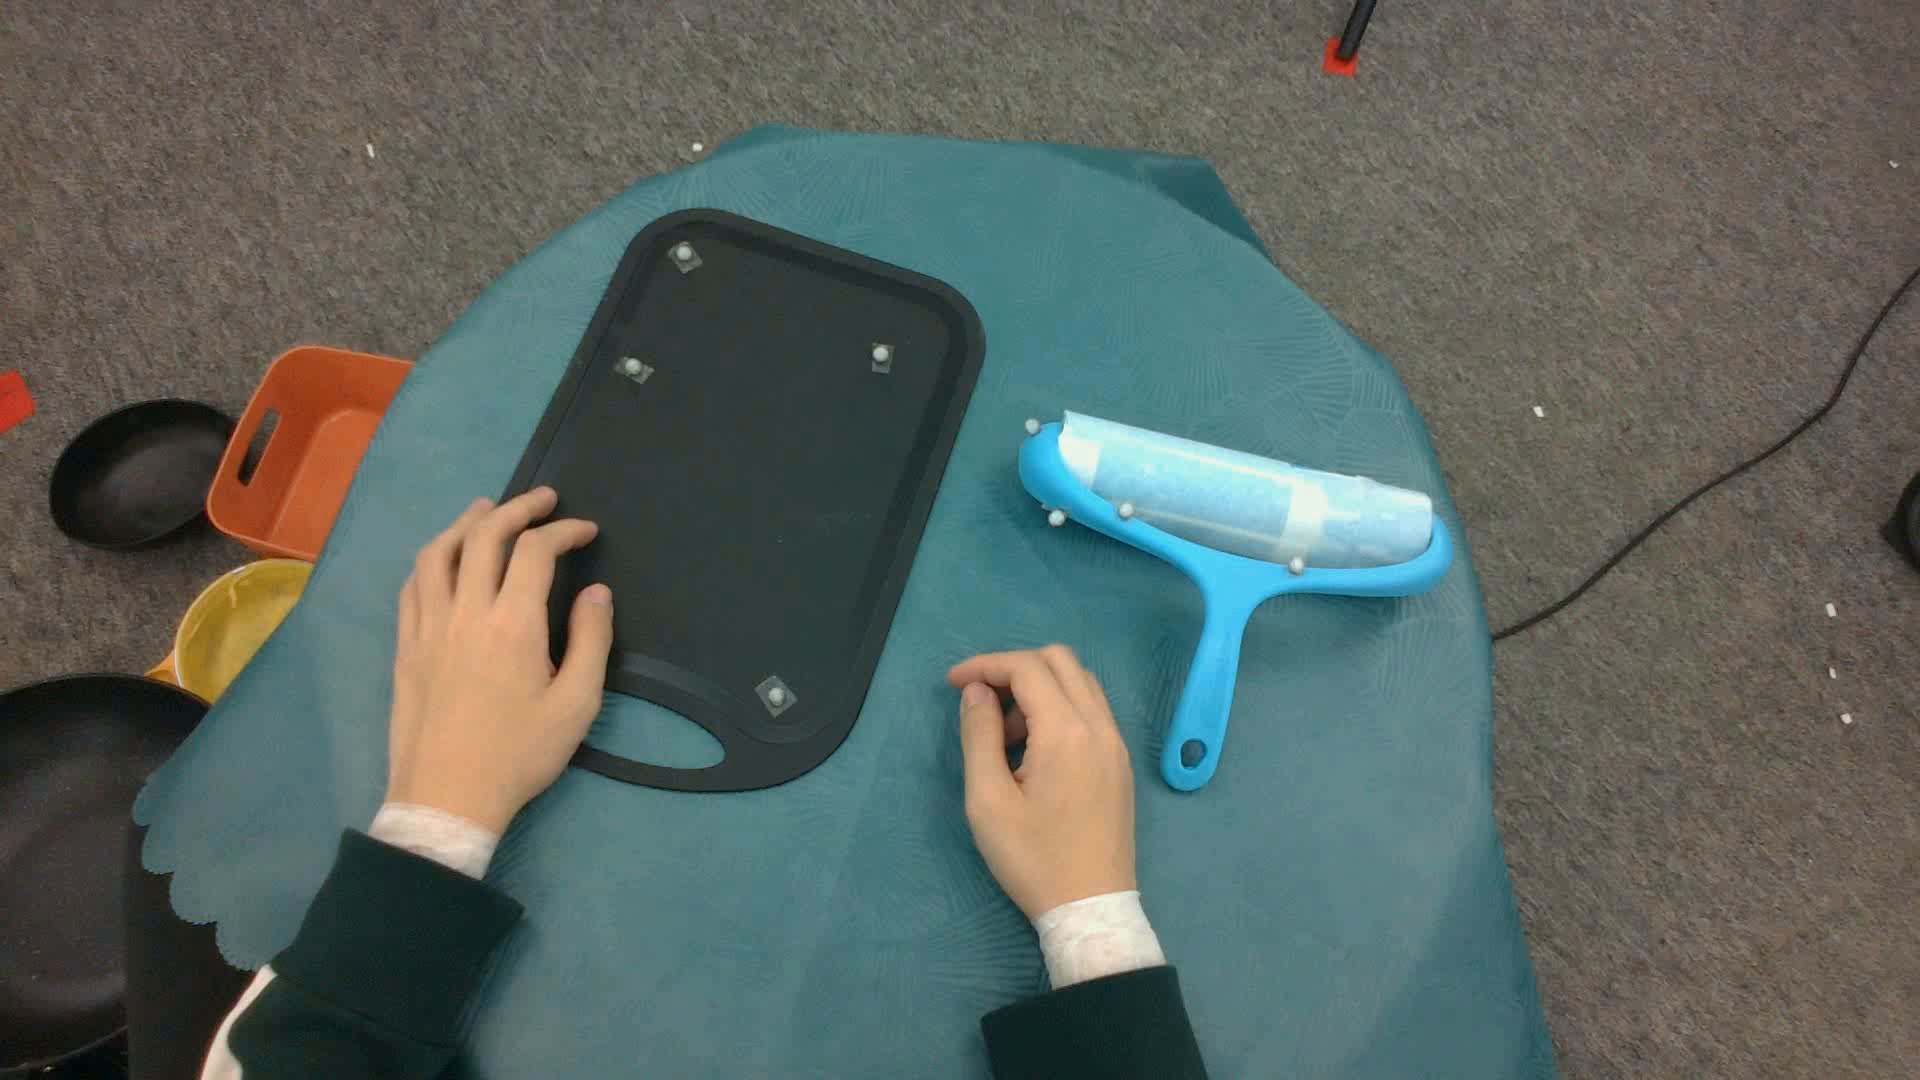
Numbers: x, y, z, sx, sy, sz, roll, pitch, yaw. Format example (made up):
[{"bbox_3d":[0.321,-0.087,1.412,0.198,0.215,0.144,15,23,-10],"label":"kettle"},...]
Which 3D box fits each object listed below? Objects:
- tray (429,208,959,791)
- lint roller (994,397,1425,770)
[{"bbox_3d":[-0.132,-0.030,0.719,0.211,0.010,0.326,16,65,1],"label":"tray"},{"bbox_3d":[0.123,0.022,0.697,0.229,0.067,0.181,10,64,-4],"label":"lint roller"}]
